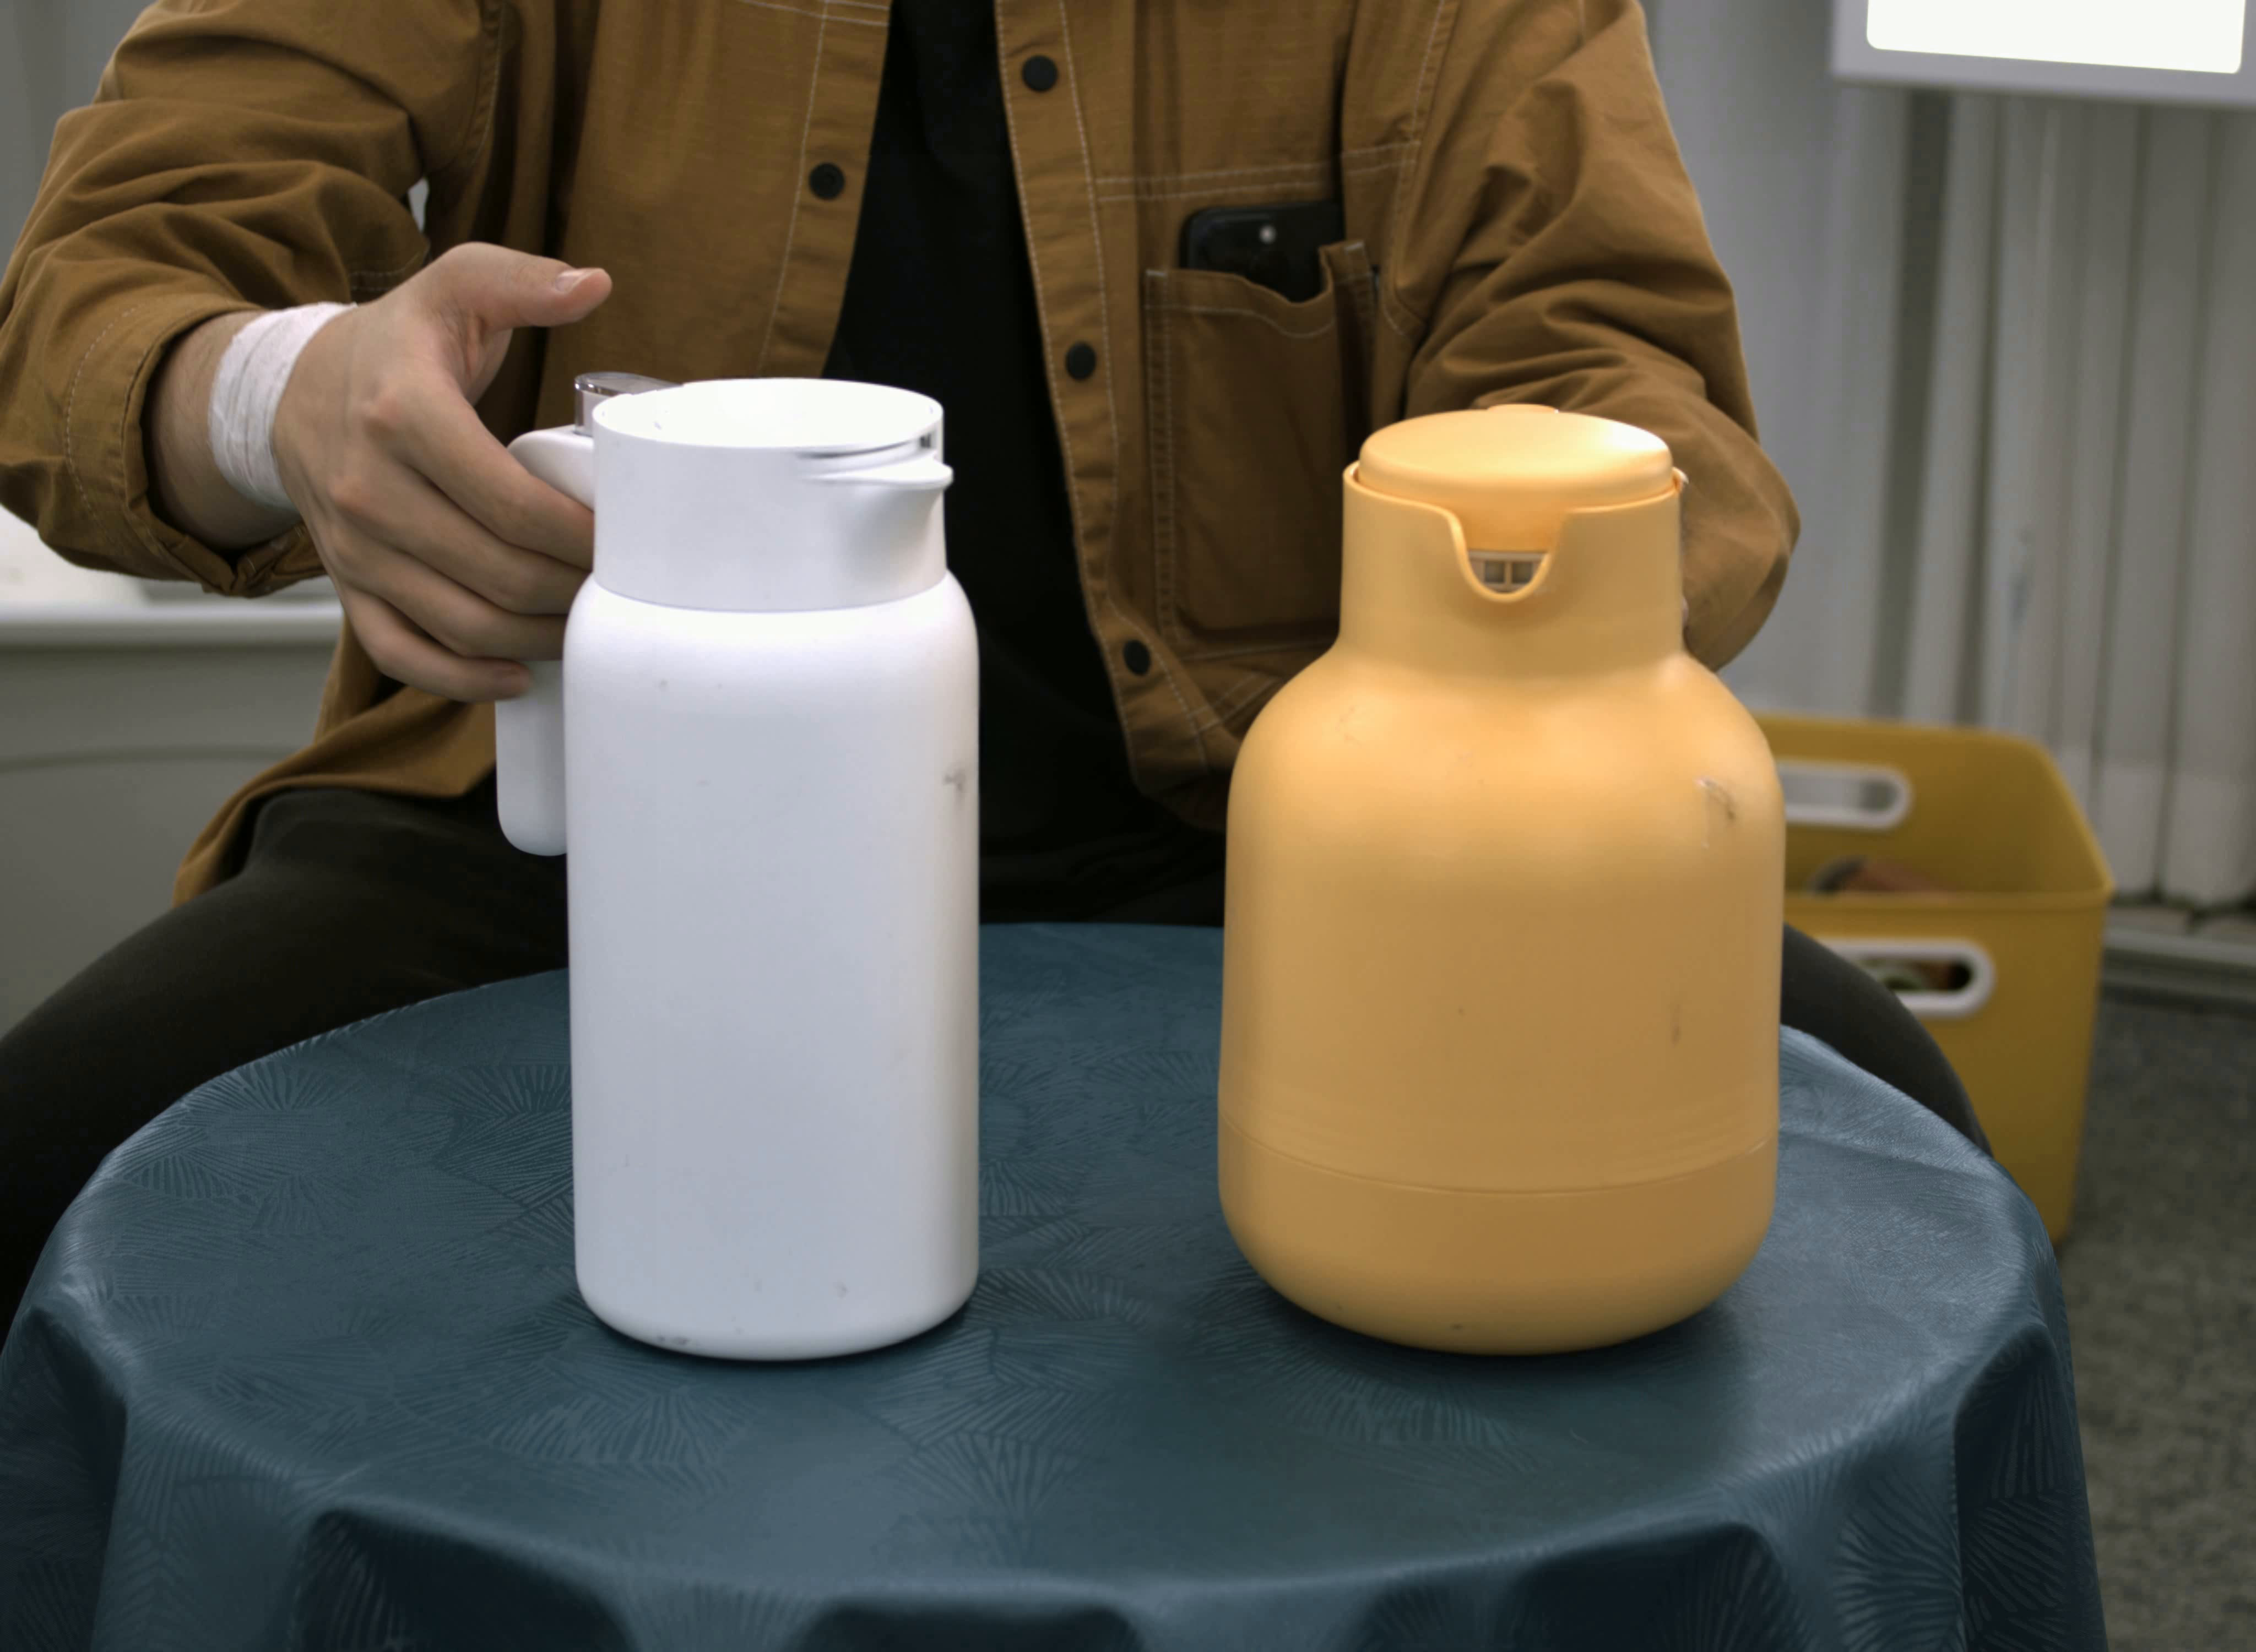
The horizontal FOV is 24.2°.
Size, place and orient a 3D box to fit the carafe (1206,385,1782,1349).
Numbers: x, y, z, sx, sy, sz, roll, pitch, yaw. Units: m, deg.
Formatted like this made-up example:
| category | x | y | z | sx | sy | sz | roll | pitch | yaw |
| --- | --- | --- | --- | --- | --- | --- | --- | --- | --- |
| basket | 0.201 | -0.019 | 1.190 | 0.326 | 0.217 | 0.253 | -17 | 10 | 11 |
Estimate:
| category | x | y | z | sx | sy | sz | roll | pitch | yaw |
| --- | --- | --- | --- | --- | --- | --- | --- | --- | --- |
| carafe | 0.110 | 0.003 | 1.523 | 0.162 | 0.262 | 0.202 | 5 | 18 | 7 |

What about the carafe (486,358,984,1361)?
| category | x | y | z | sx | sy | sz | roll | pitch | yaw |
| --- | --- | --- | --- | --- | --- | --- | --- | --- | --- |
| carafe | -0.114 | 0.007 | 1.498 | 0.170 | 0.271 | 0.124 | 12 | 22 | 39 |
